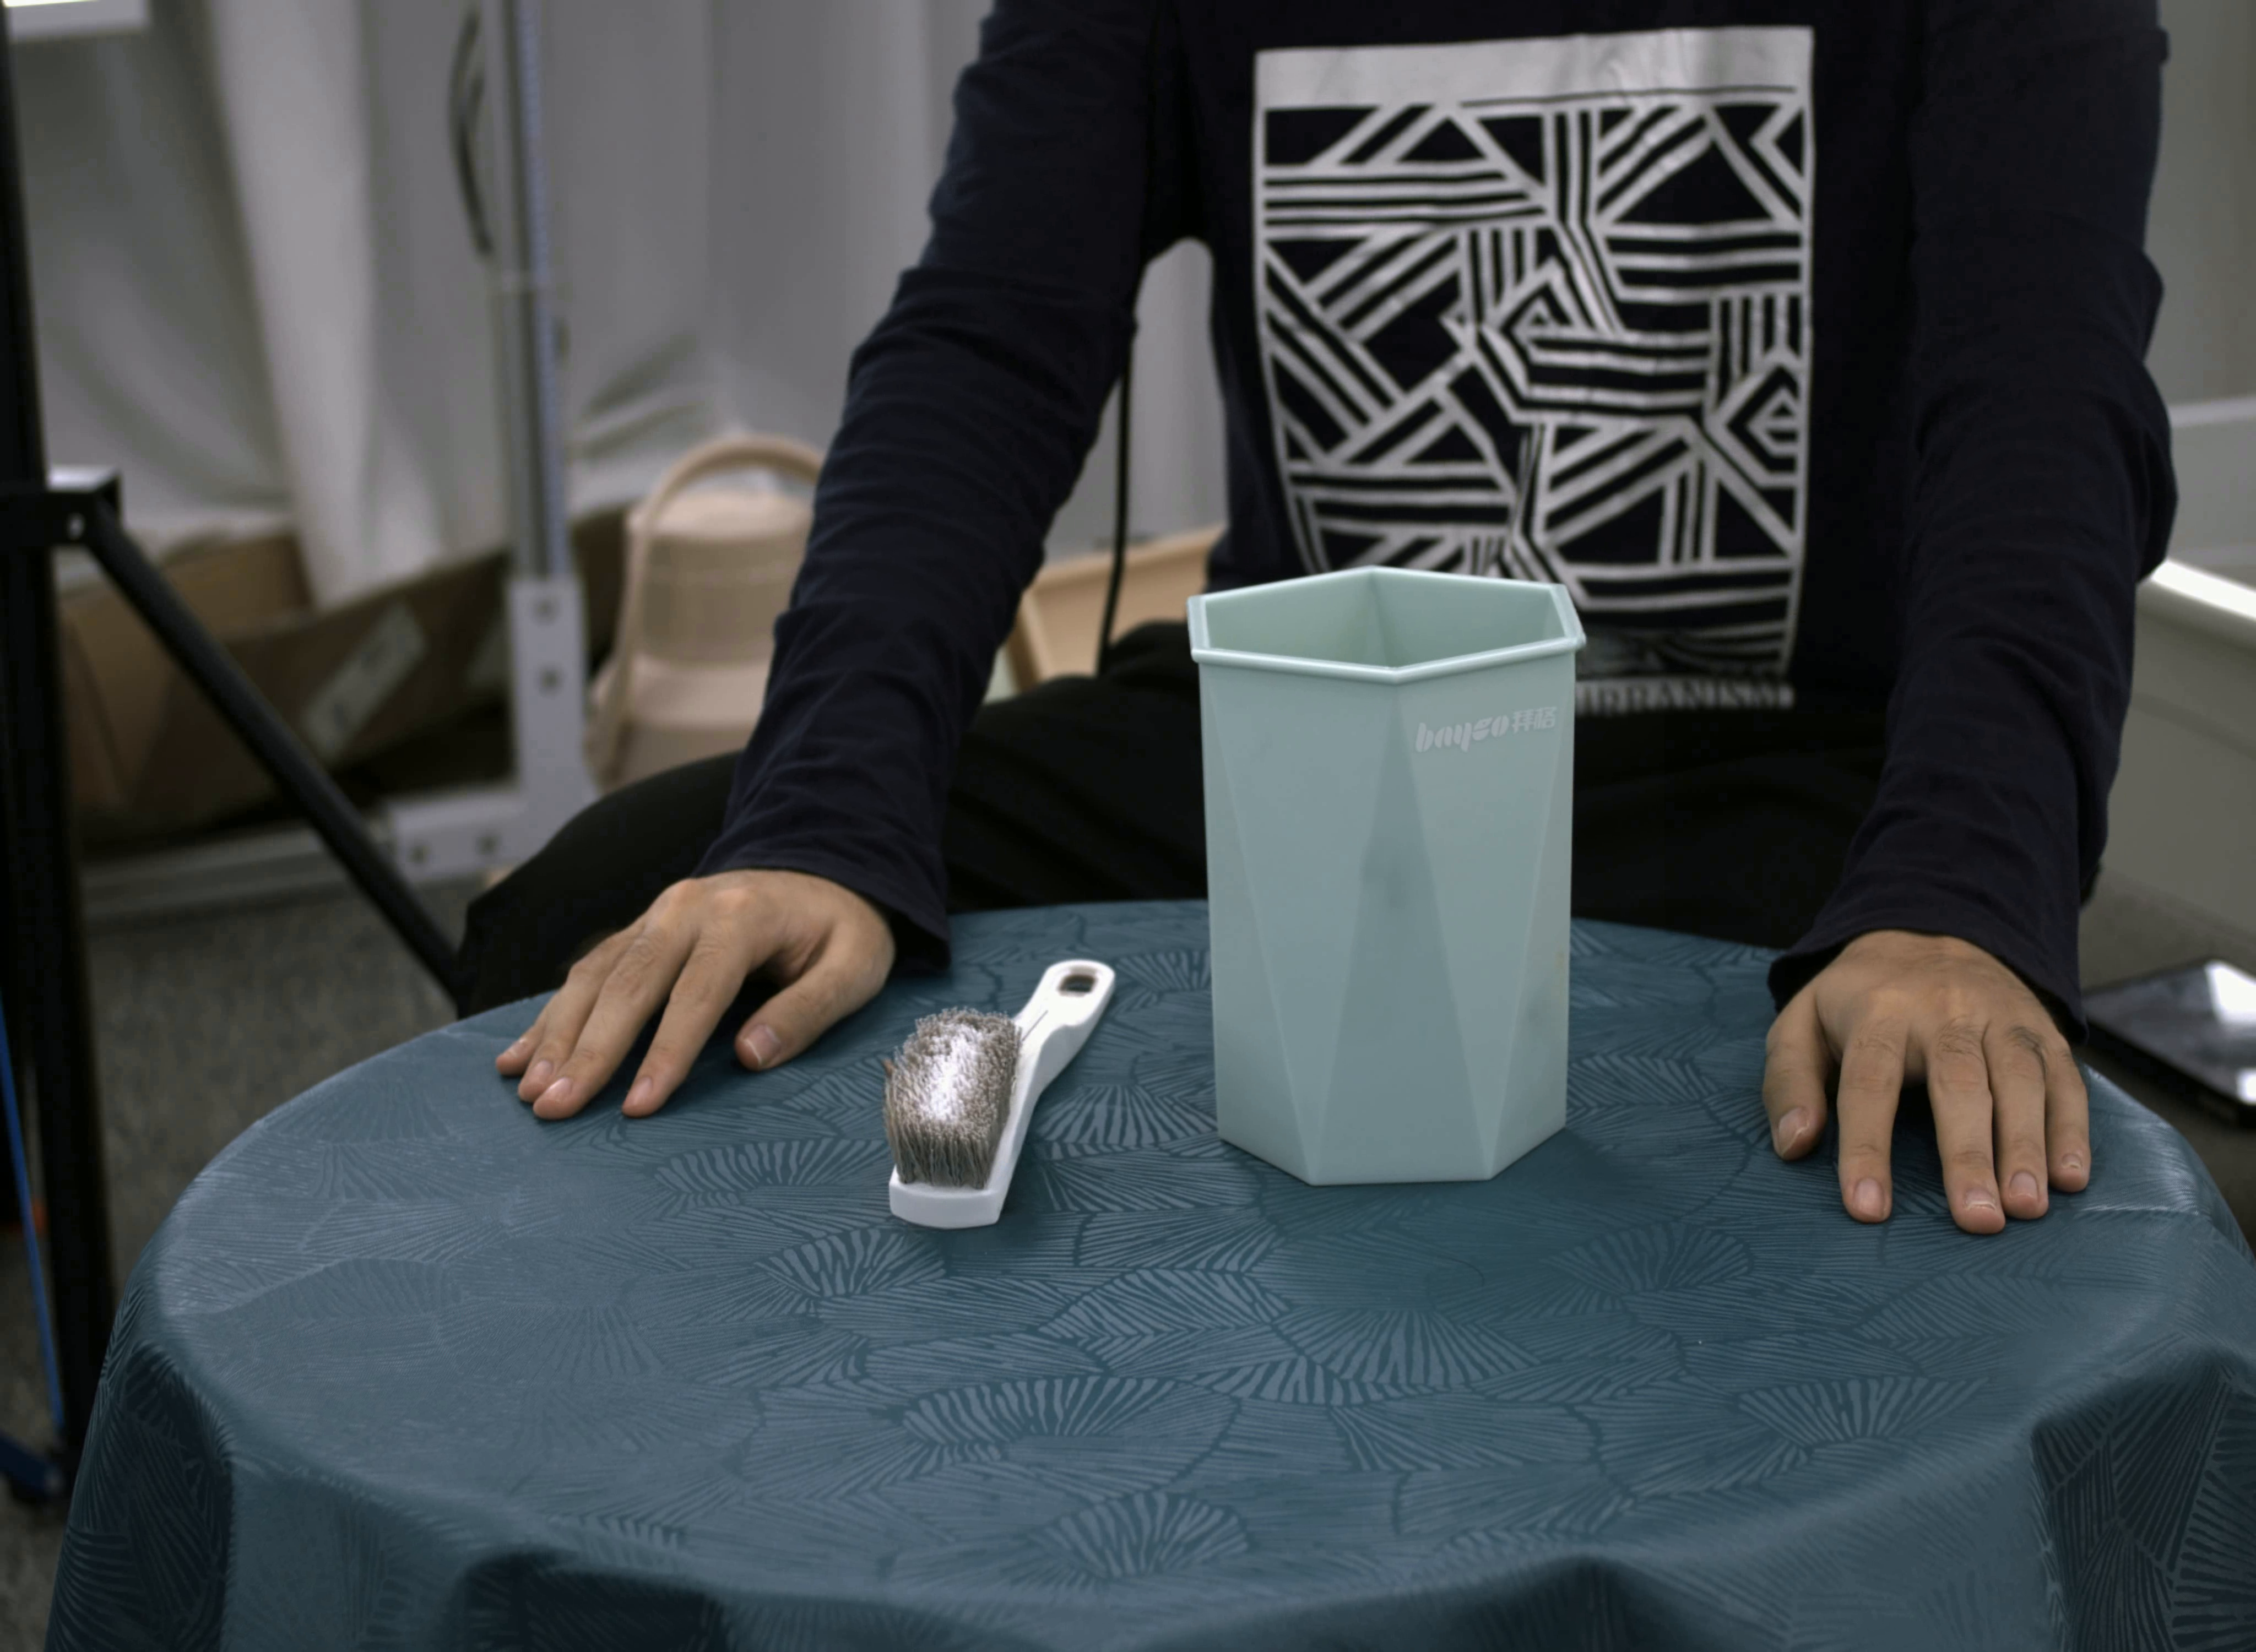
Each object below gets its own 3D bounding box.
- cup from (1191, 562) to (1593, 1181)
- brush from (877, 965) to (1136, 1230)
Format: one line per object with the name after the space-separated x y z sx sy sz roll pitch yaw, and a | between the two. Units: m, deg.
0.079 0.014 1.579 0.128 0.163 0.118 -10 16 -30 | cup
-0.033 0.063 1.635 0.034 0.050 0.242 1 16 13 | brush
